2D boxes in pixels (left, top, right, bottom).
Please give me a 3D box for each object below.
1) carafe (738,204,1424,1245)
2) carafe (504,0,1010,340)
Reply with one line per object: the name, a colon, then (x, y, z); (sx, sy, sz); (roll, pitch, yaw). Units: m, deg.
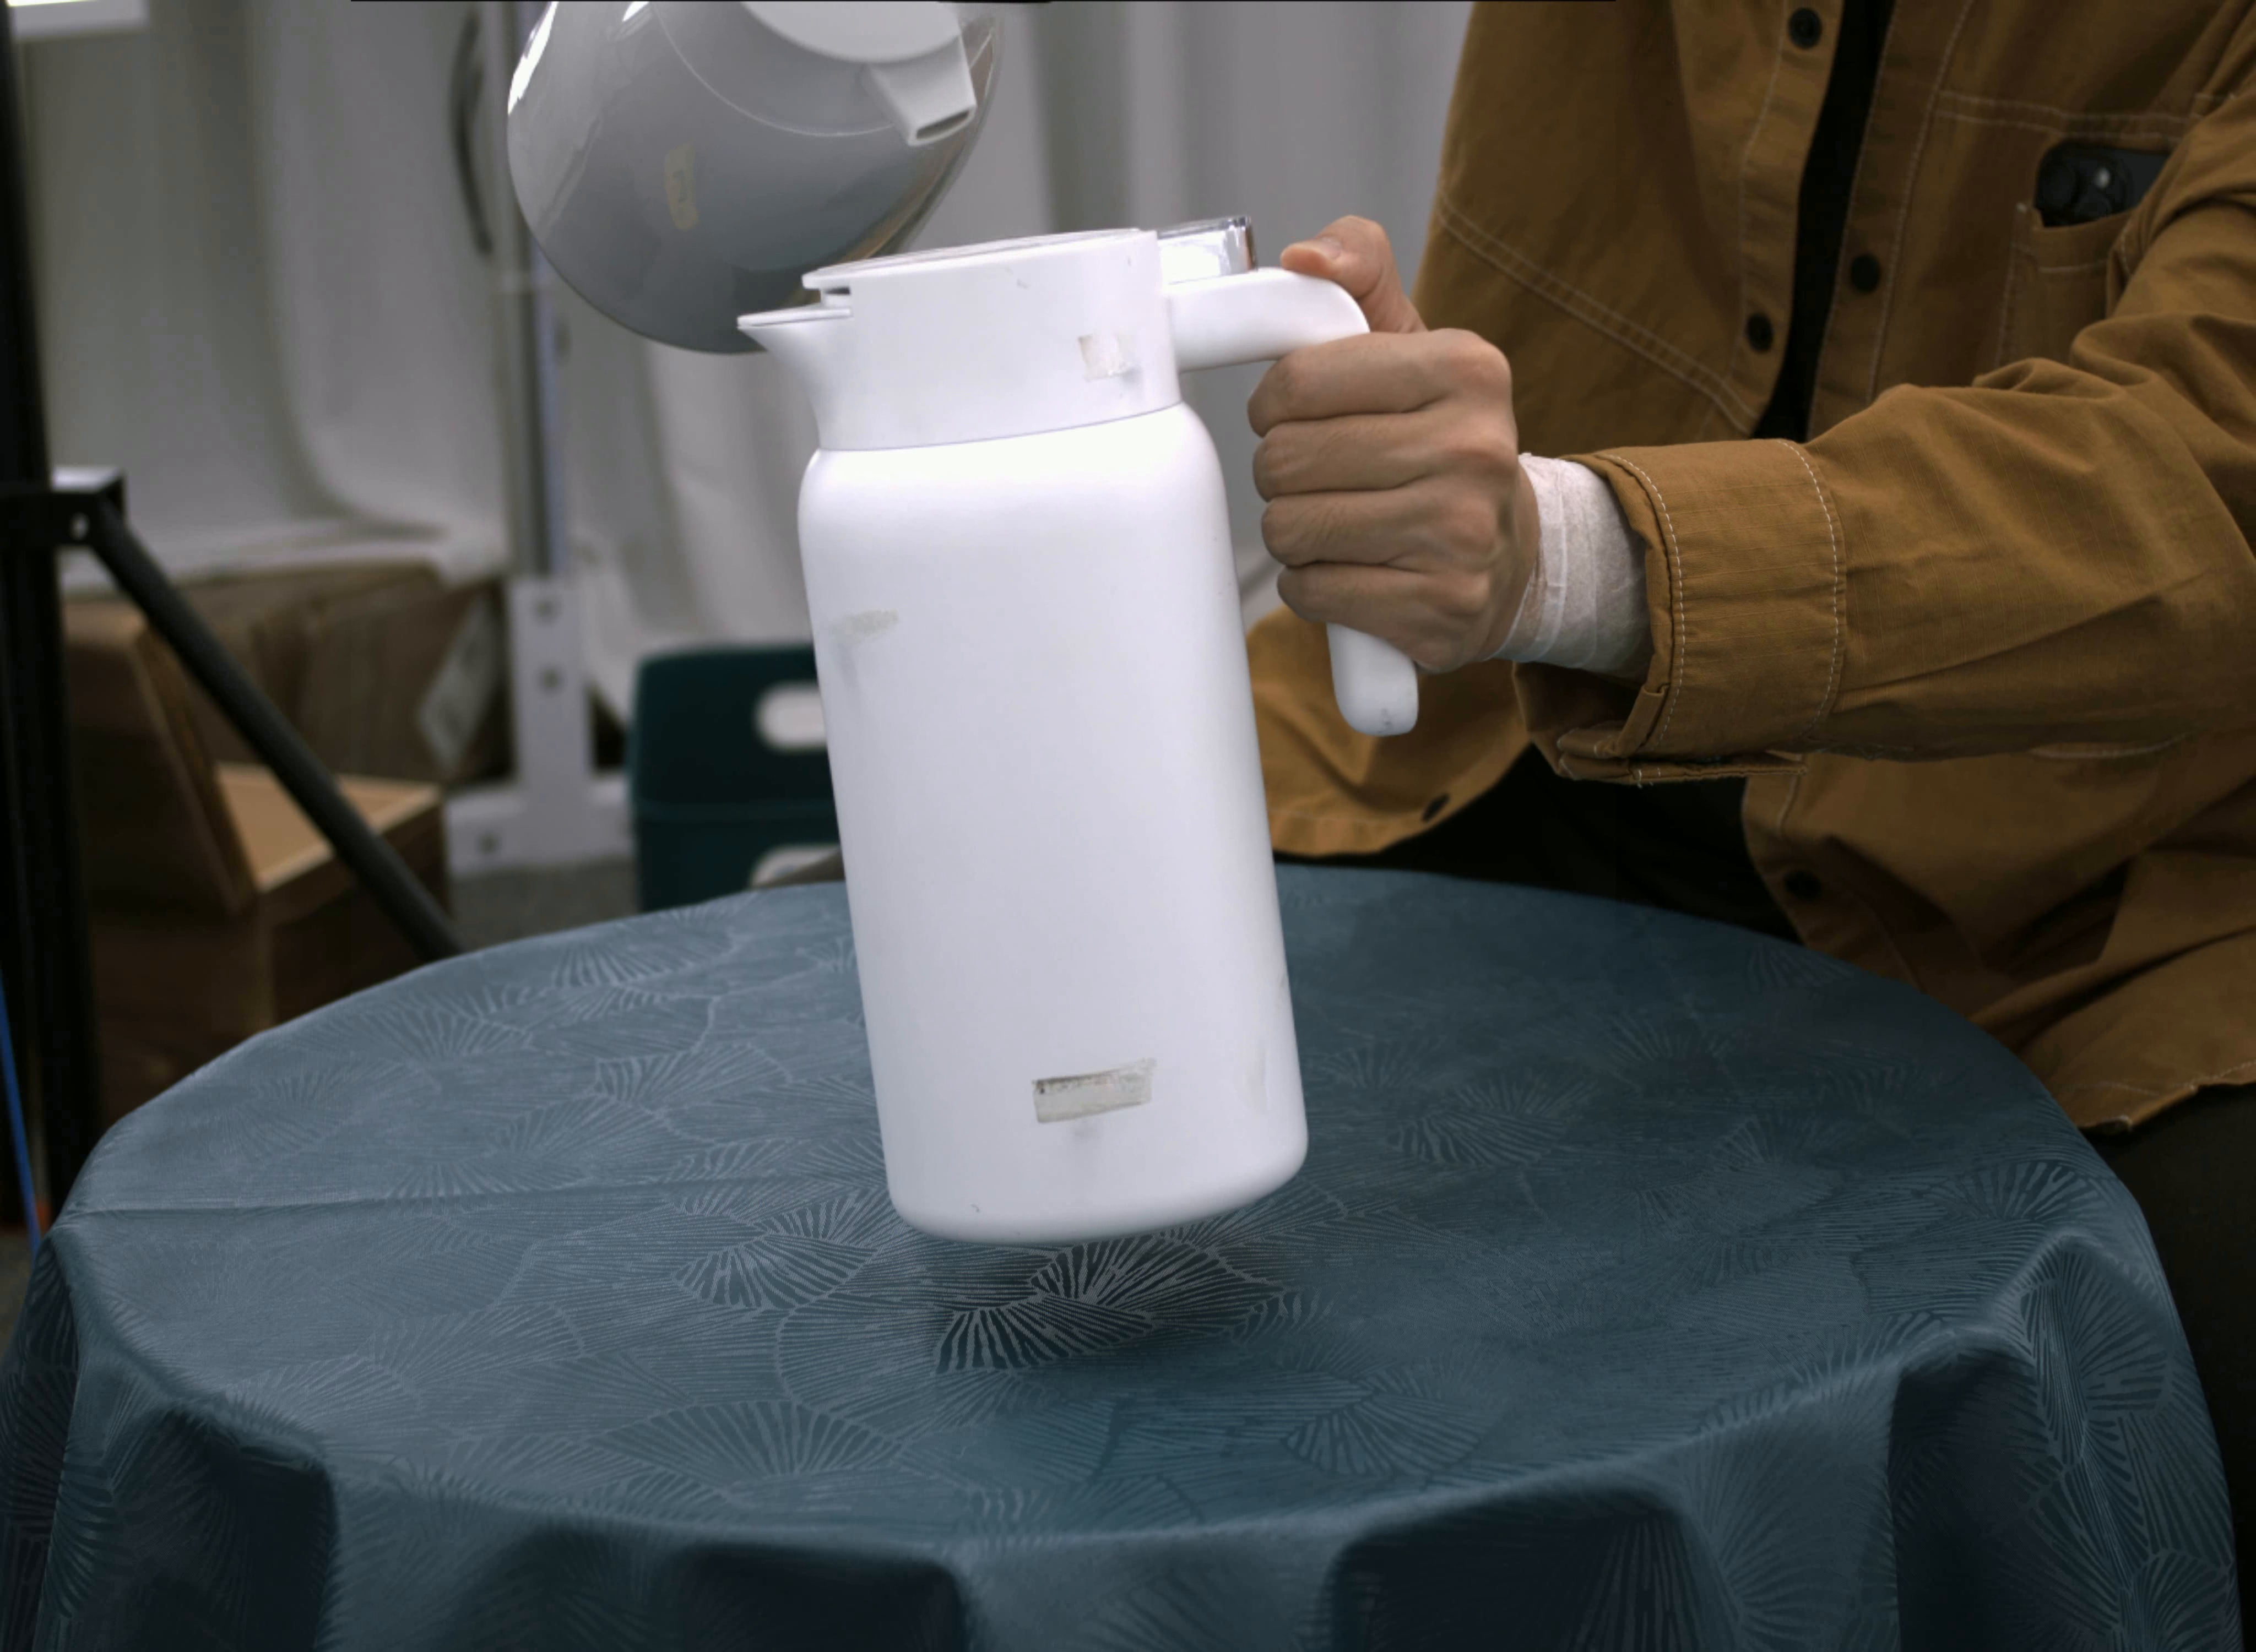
carafe: (-0.006, -0.030, 1.448); (0.171, 0.269, 0.125); (-9, 6, -10)
carafe: (-0.105, -0.248, 1.528); (0.131, 0.168, 0.250); (-24, -3, -16)
